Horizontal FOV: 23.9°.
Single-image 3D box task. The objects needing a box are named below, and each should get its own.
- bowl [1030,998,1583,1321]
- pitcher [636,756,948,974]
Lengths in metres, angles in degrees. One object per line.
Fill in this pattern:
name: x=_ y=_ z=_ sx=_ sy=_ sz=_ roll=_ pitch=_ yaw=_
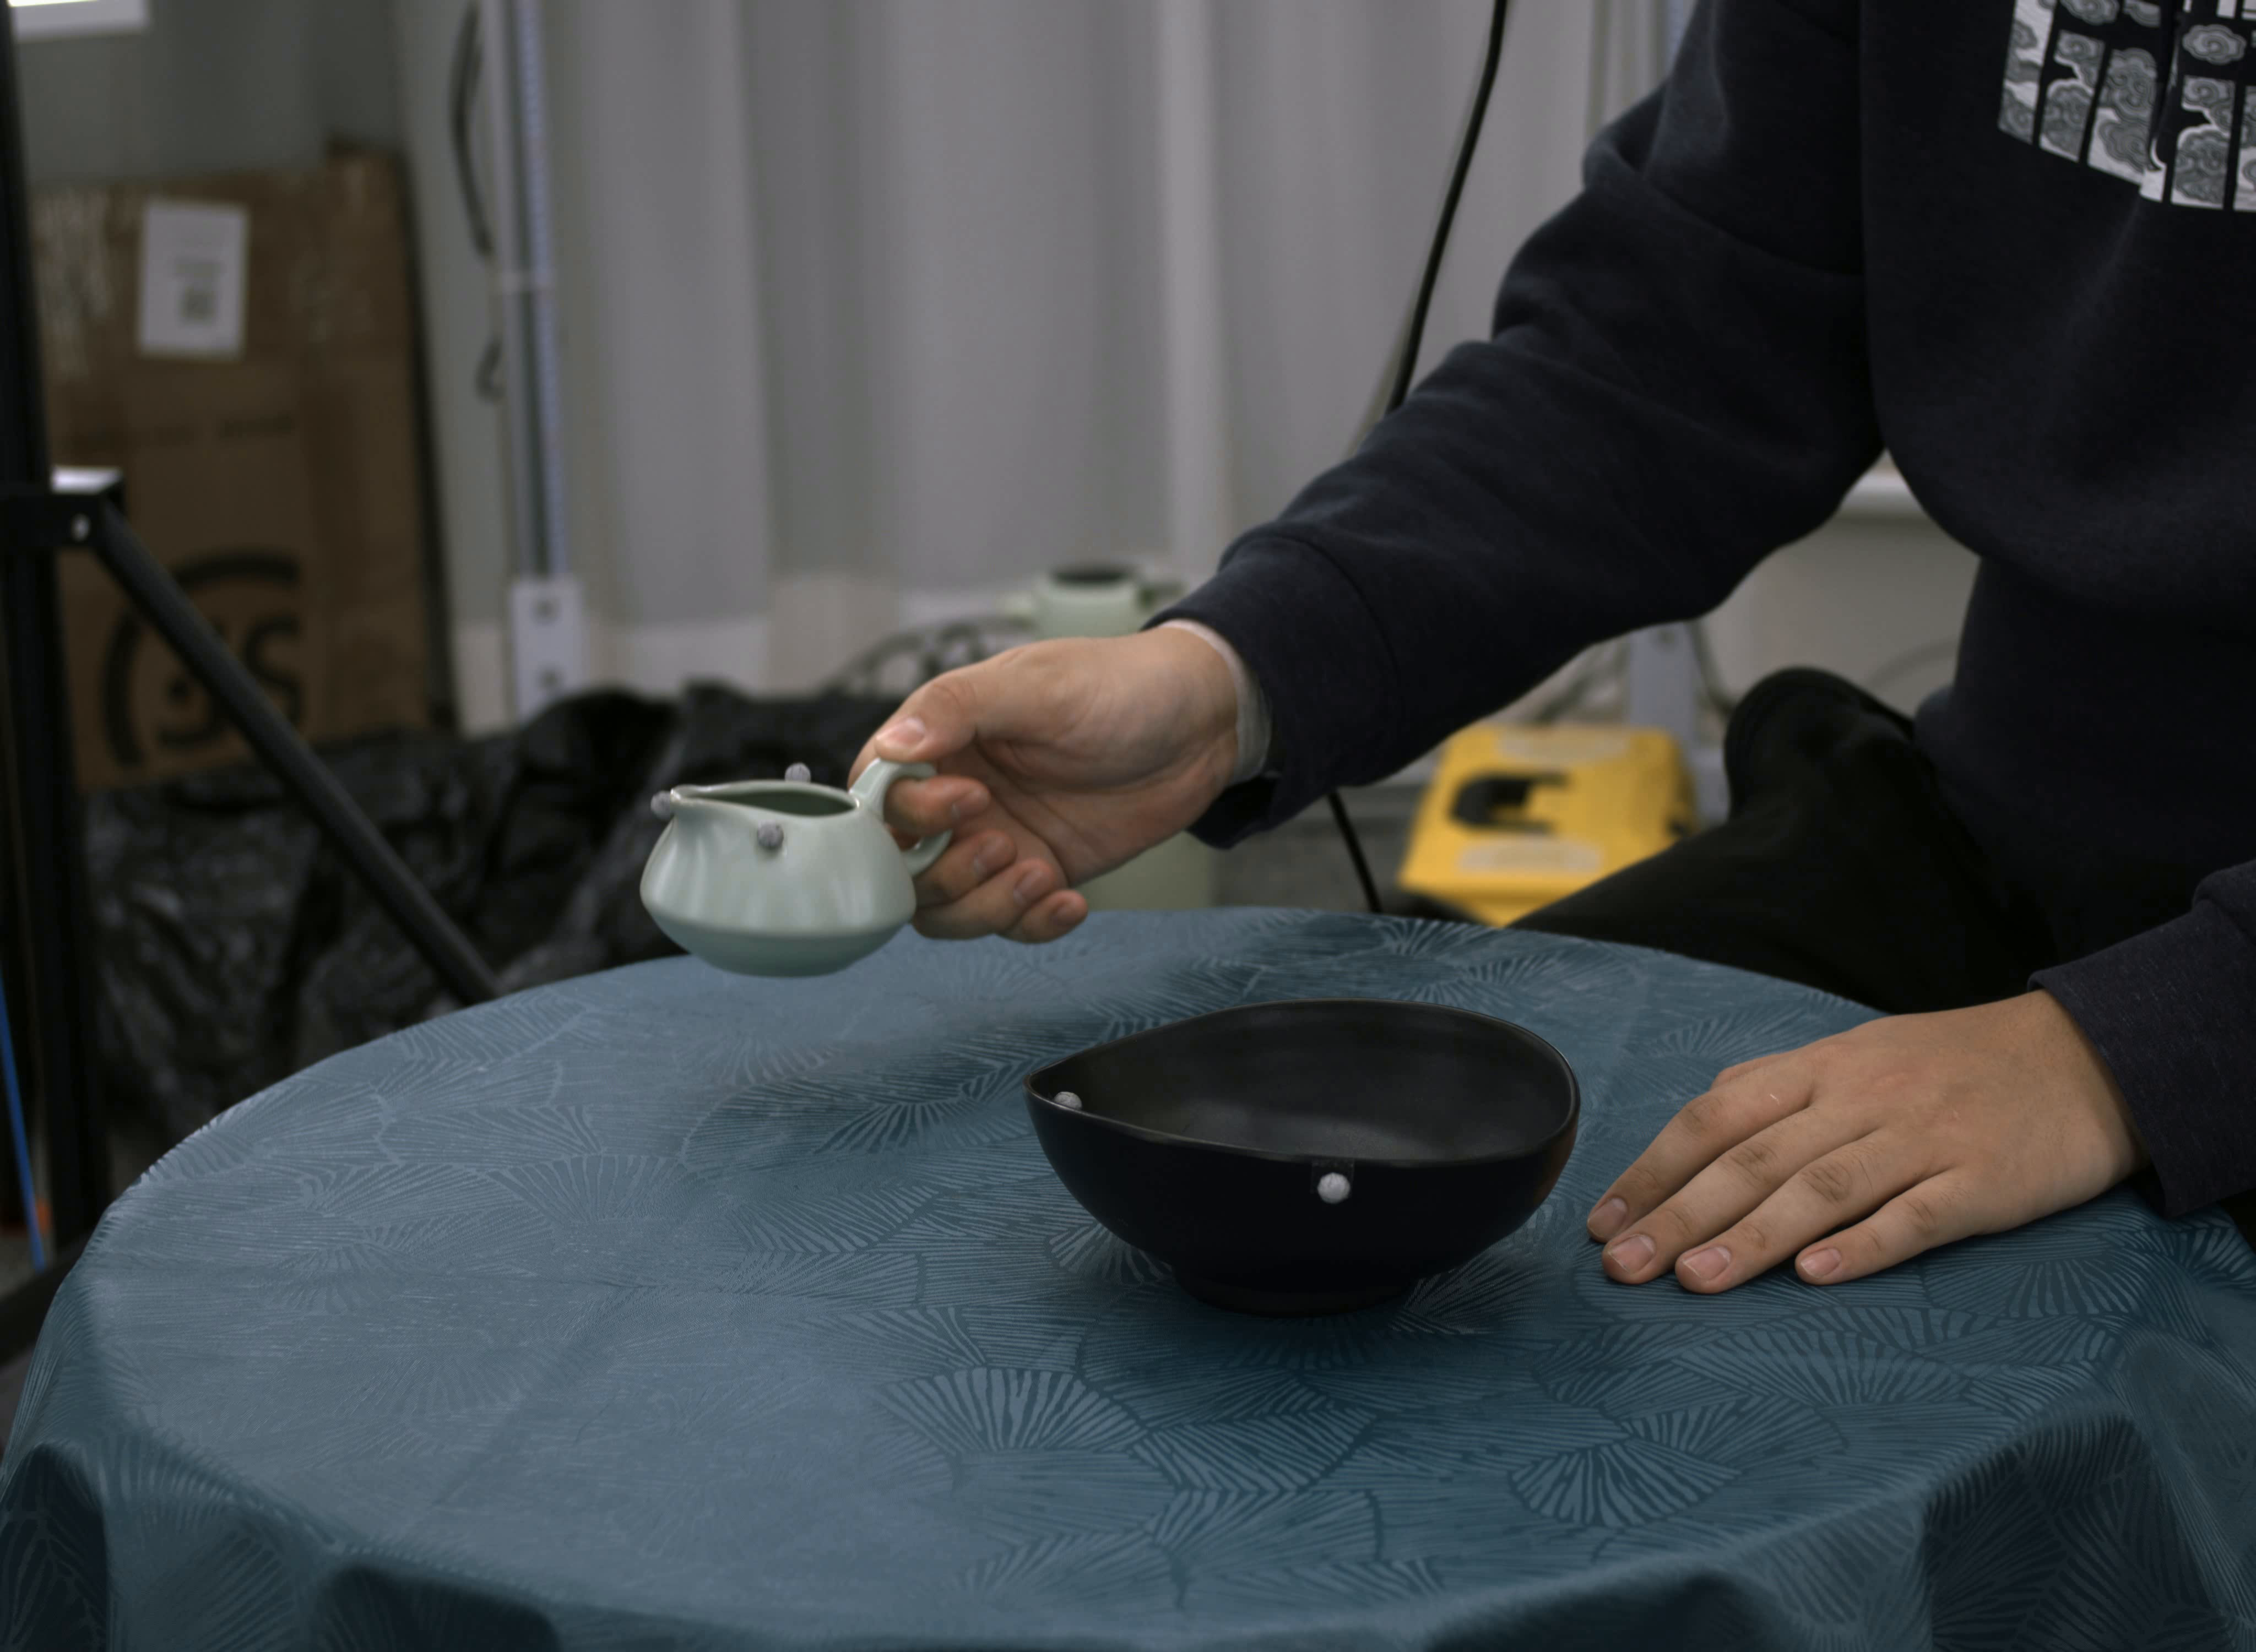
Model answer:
bowl: x=0.048 y=0.097 z=1.475 sx=0.174 sy=0.067 sz=0.134 roll=10 pitch=19 yaw=41
pitcher: x=-0.100 y=0.010 z=1.651 sx=0.105 sy=0.060 sz=0.088 roll=-6 pitch=17 yaw=-42
